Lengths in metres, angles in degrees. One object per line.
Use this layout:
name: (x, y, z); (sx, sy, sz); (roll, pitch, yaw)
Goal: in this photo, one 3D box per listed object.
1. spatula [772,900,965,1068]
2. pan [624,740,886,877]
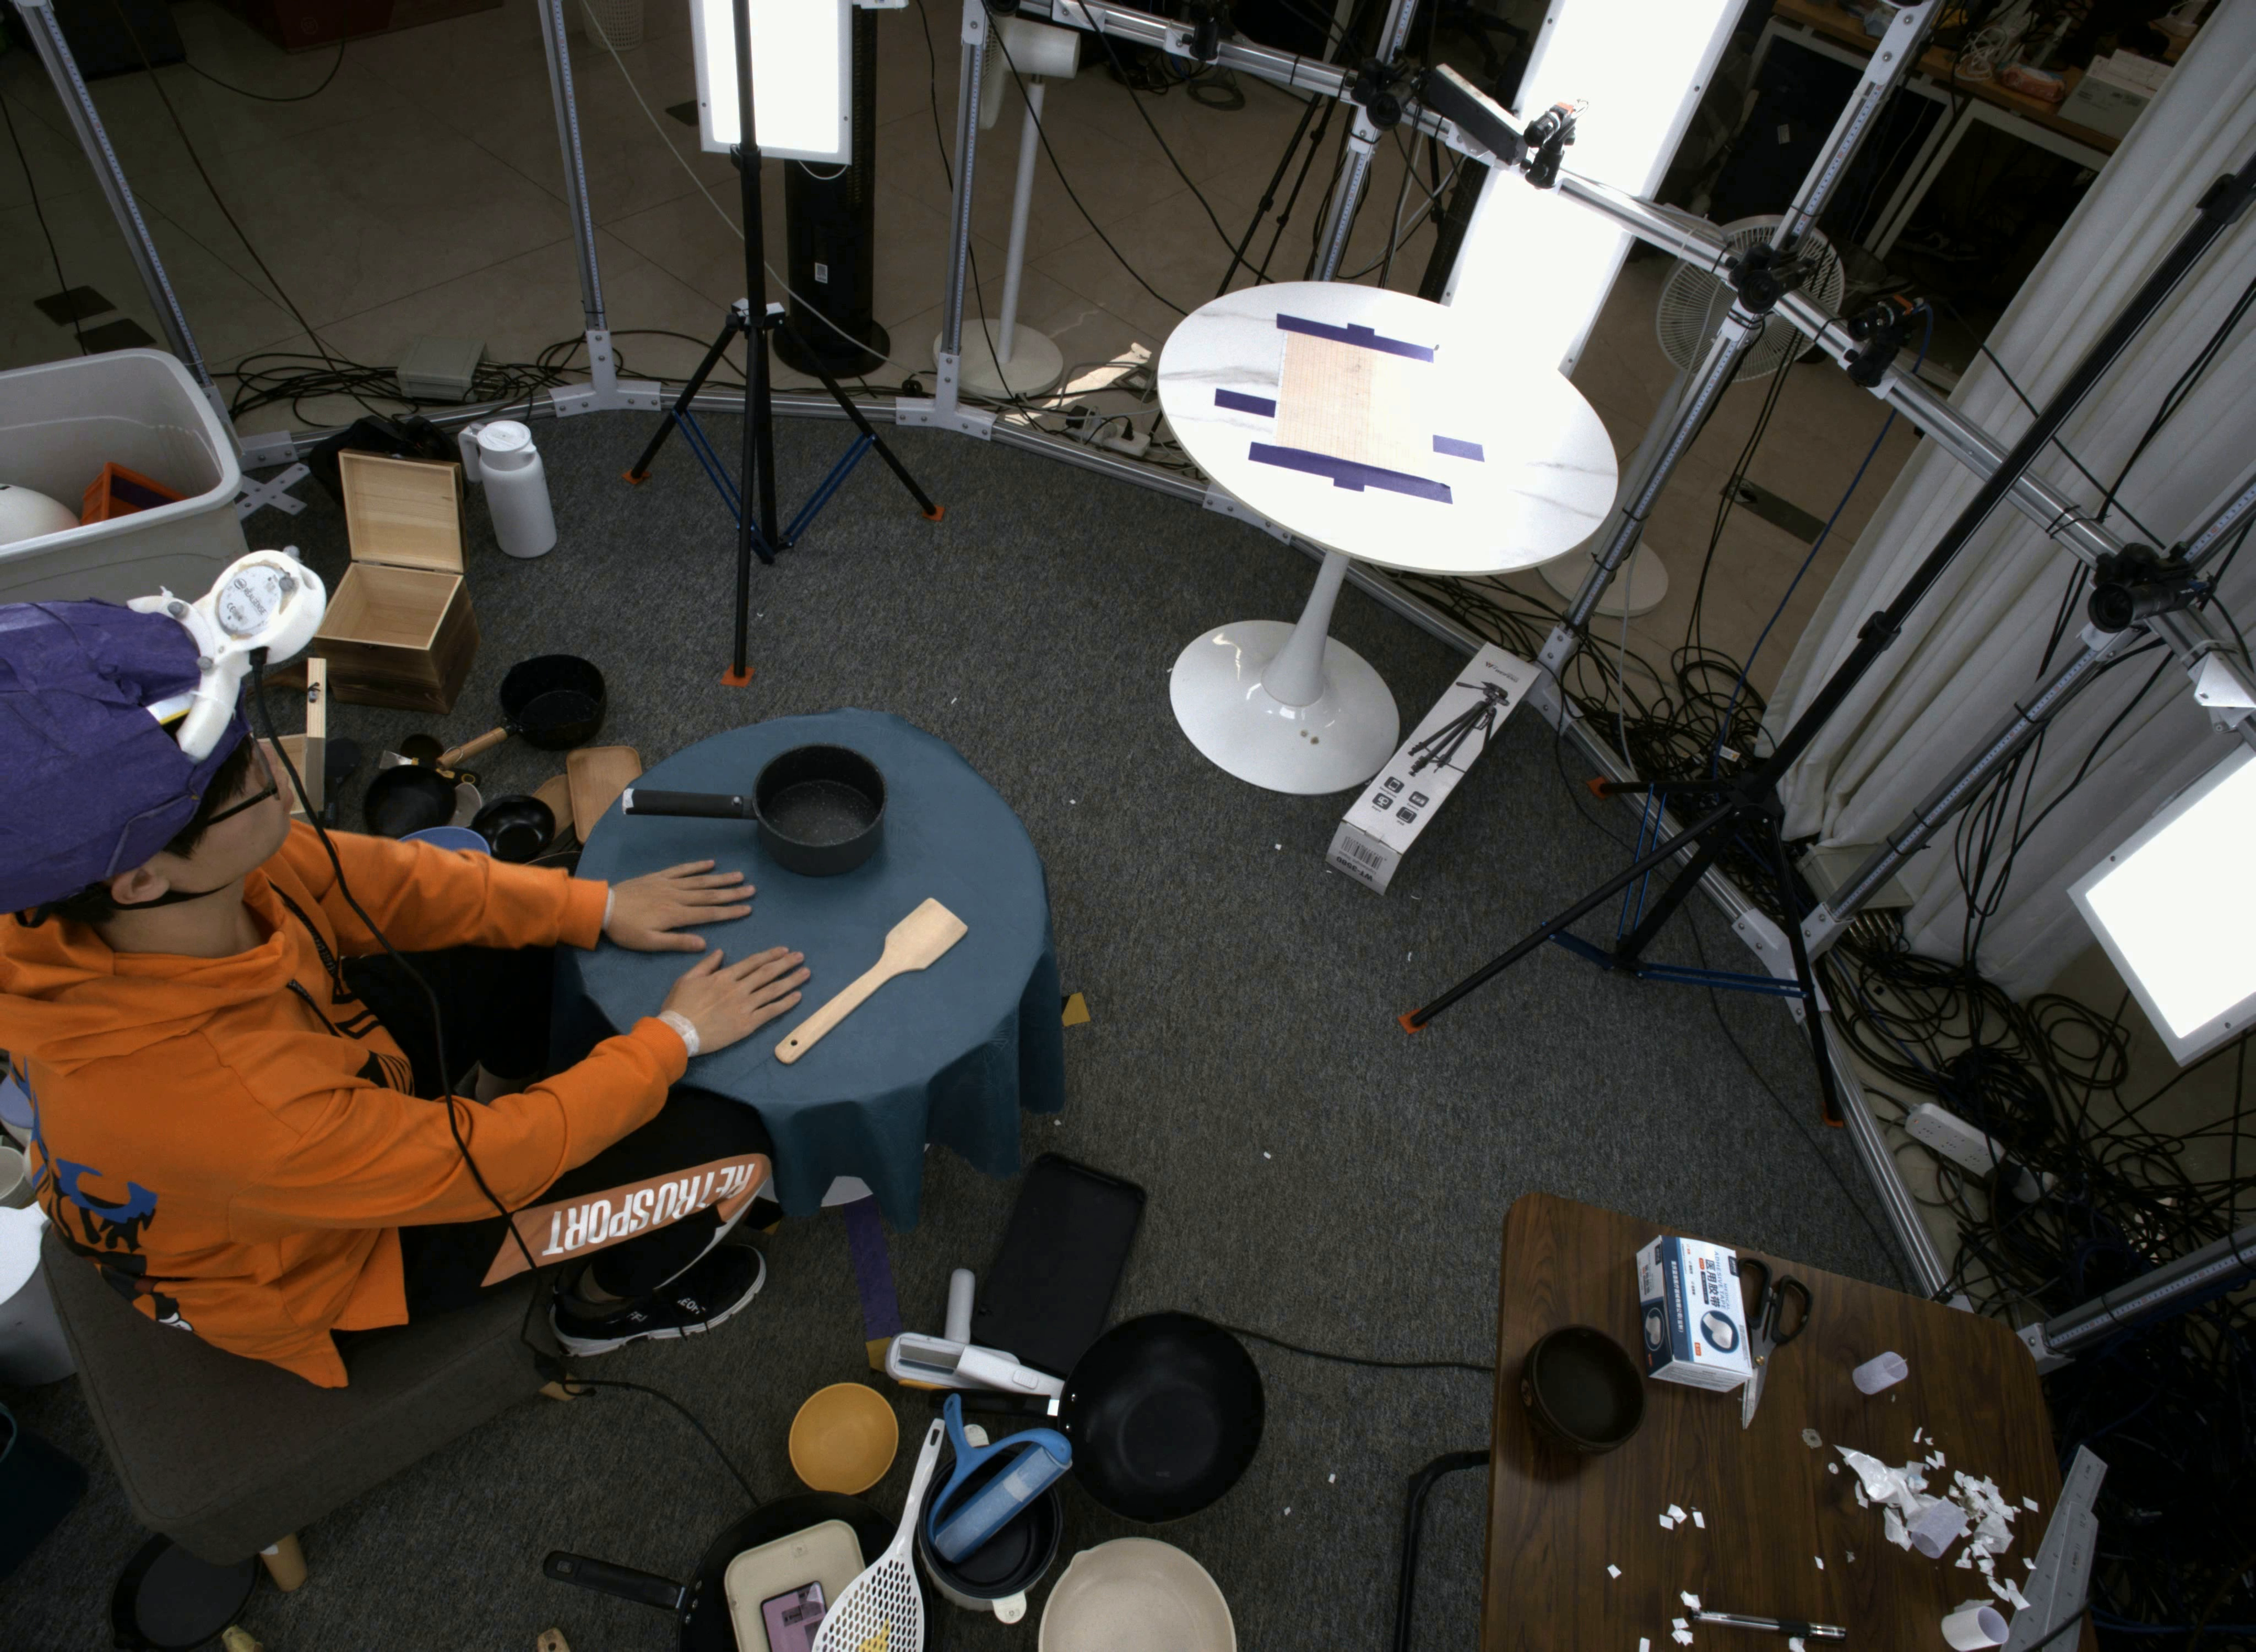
spatula: (-0.319, 0.193, 1.591); (0.071, 0.011, 0.293); (40, 54, 11)
pan: (-0.478, -0.022, 1.661); (0.330, 0.088, 0.168); (0, 53, -17)
